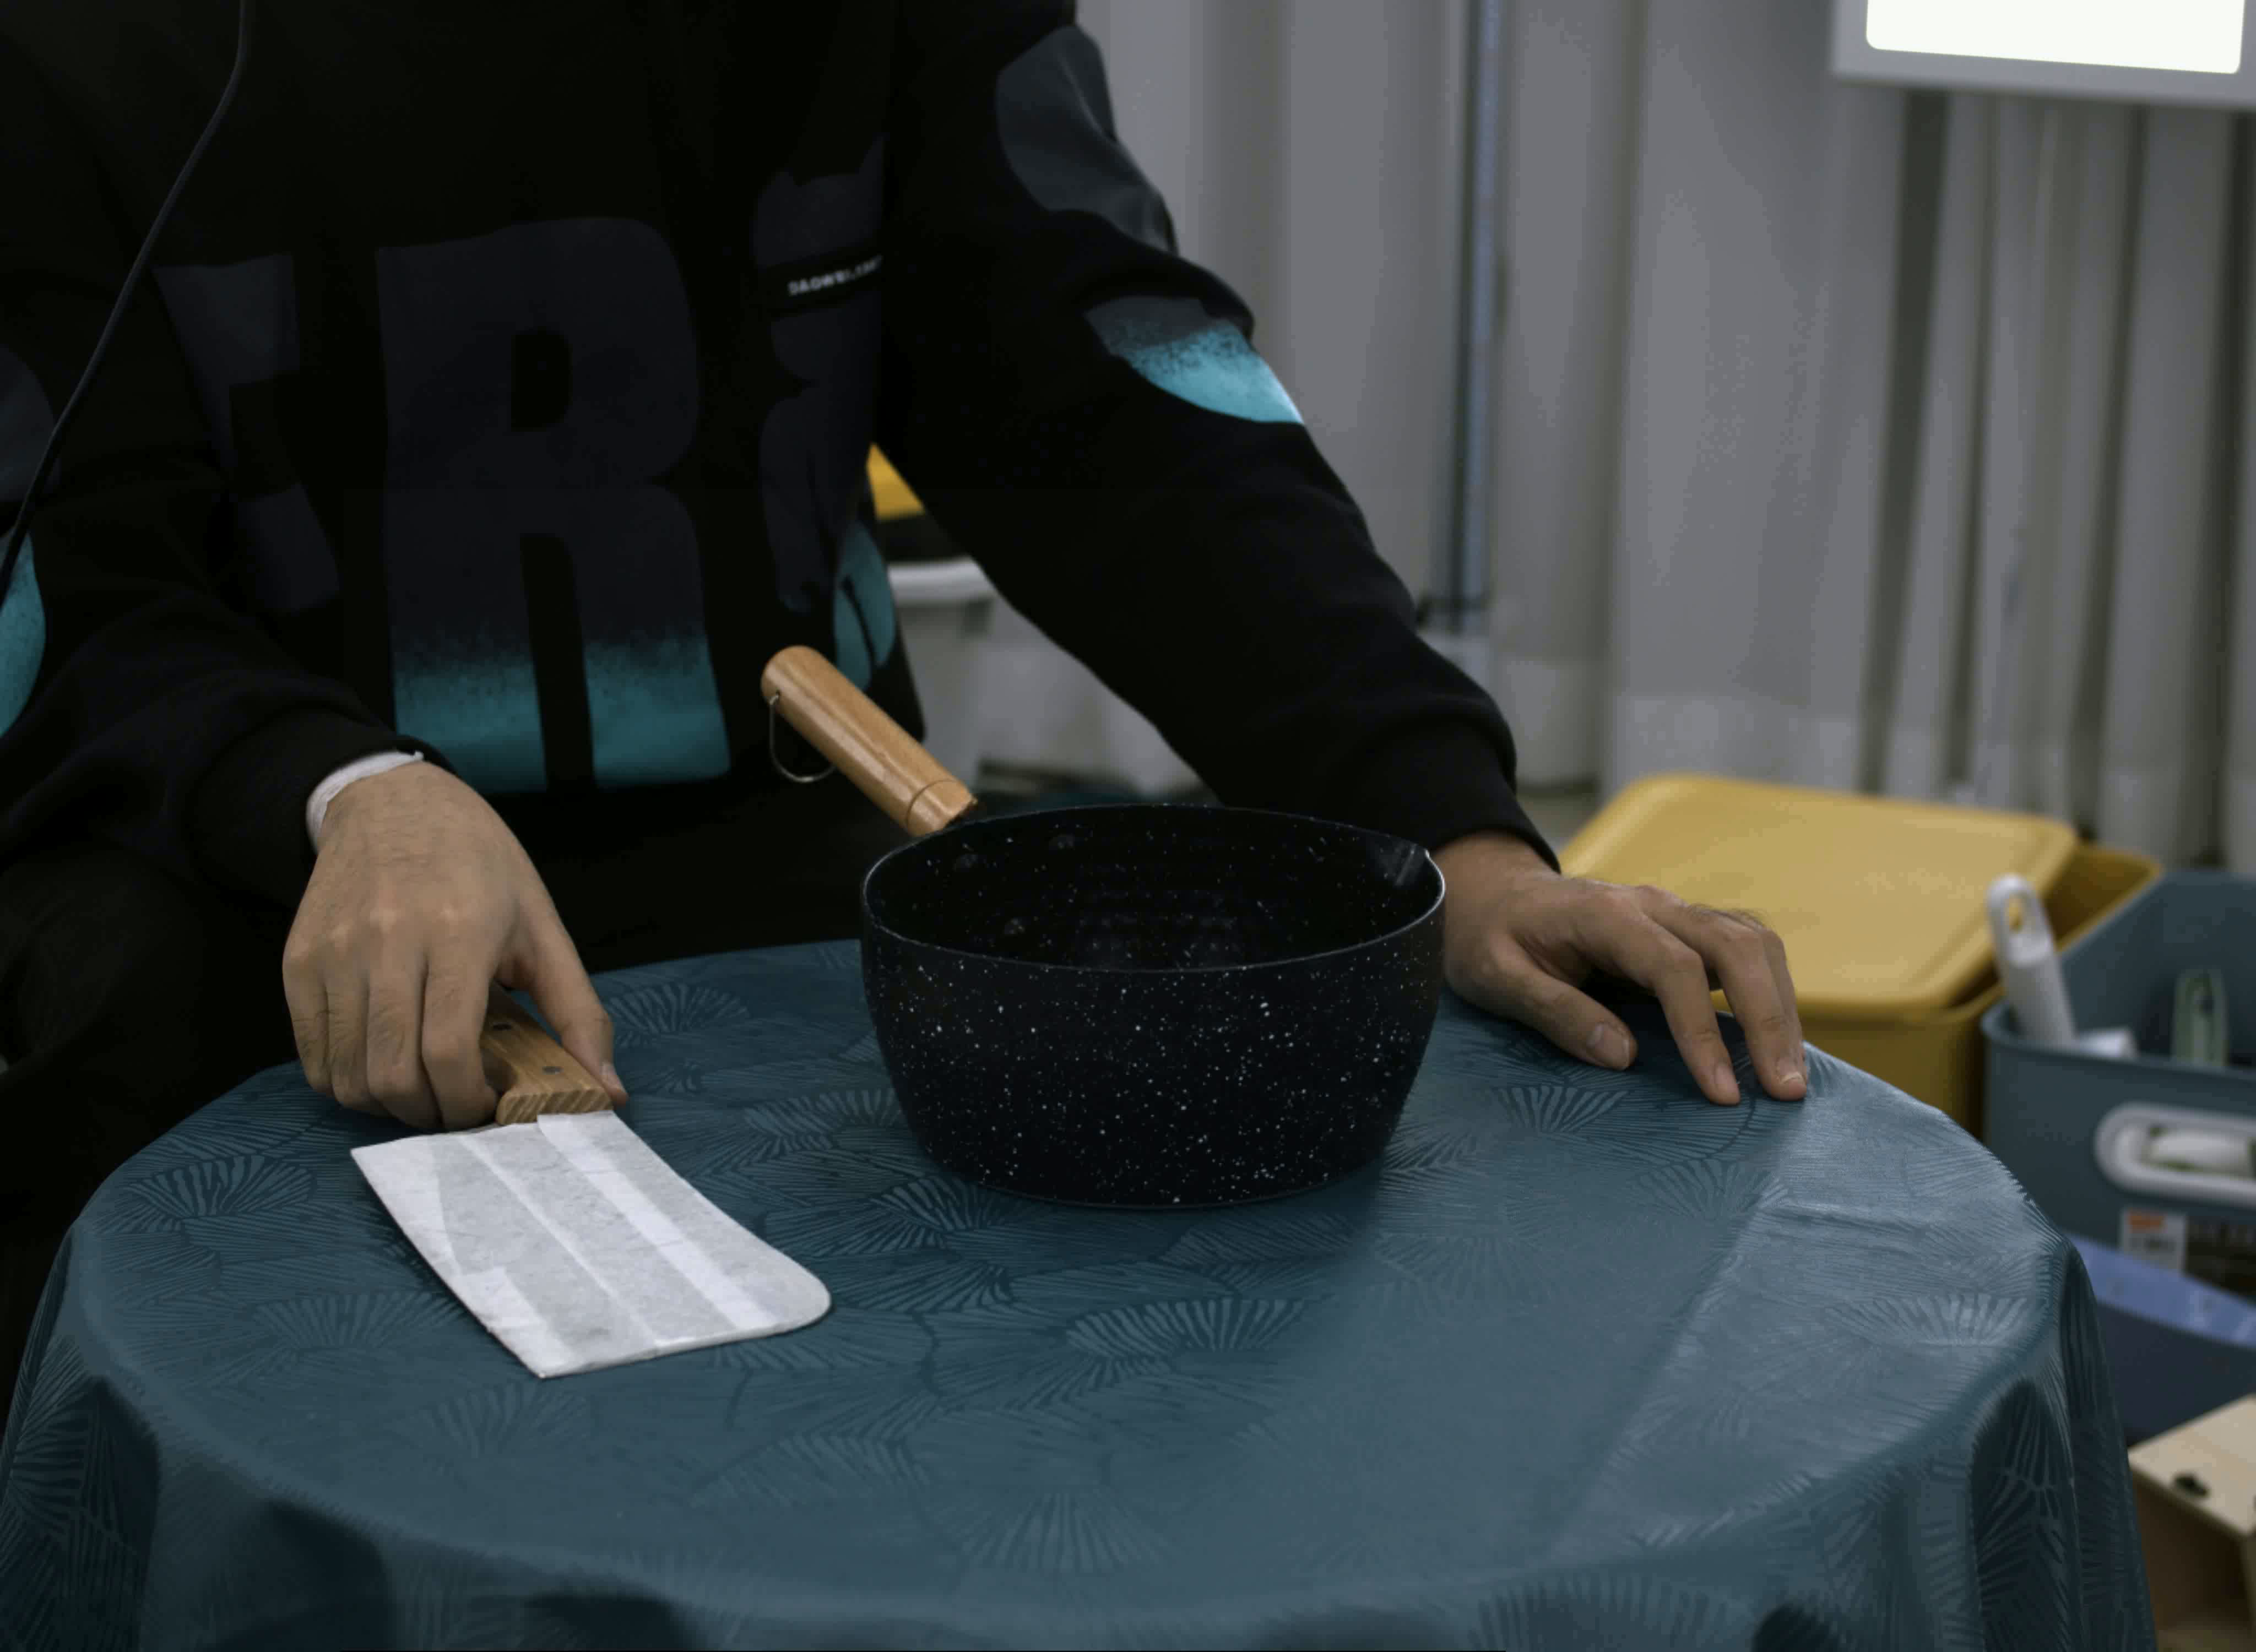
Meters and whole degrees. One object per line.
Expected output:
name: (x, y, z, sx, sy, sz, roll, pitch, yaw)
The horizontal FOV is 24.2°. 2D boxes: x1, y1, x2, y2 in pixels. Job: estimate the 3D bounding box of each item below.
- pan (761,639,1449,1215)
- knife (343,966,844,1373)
pan: (-0.034, 0.028, 1.720, 0.208, 0.109, 0.338, -11, 20, -31)
knife: (-0.180, 0.103, 1.618, 0.114, 0.022, 0.311, -6, 20, -21)
